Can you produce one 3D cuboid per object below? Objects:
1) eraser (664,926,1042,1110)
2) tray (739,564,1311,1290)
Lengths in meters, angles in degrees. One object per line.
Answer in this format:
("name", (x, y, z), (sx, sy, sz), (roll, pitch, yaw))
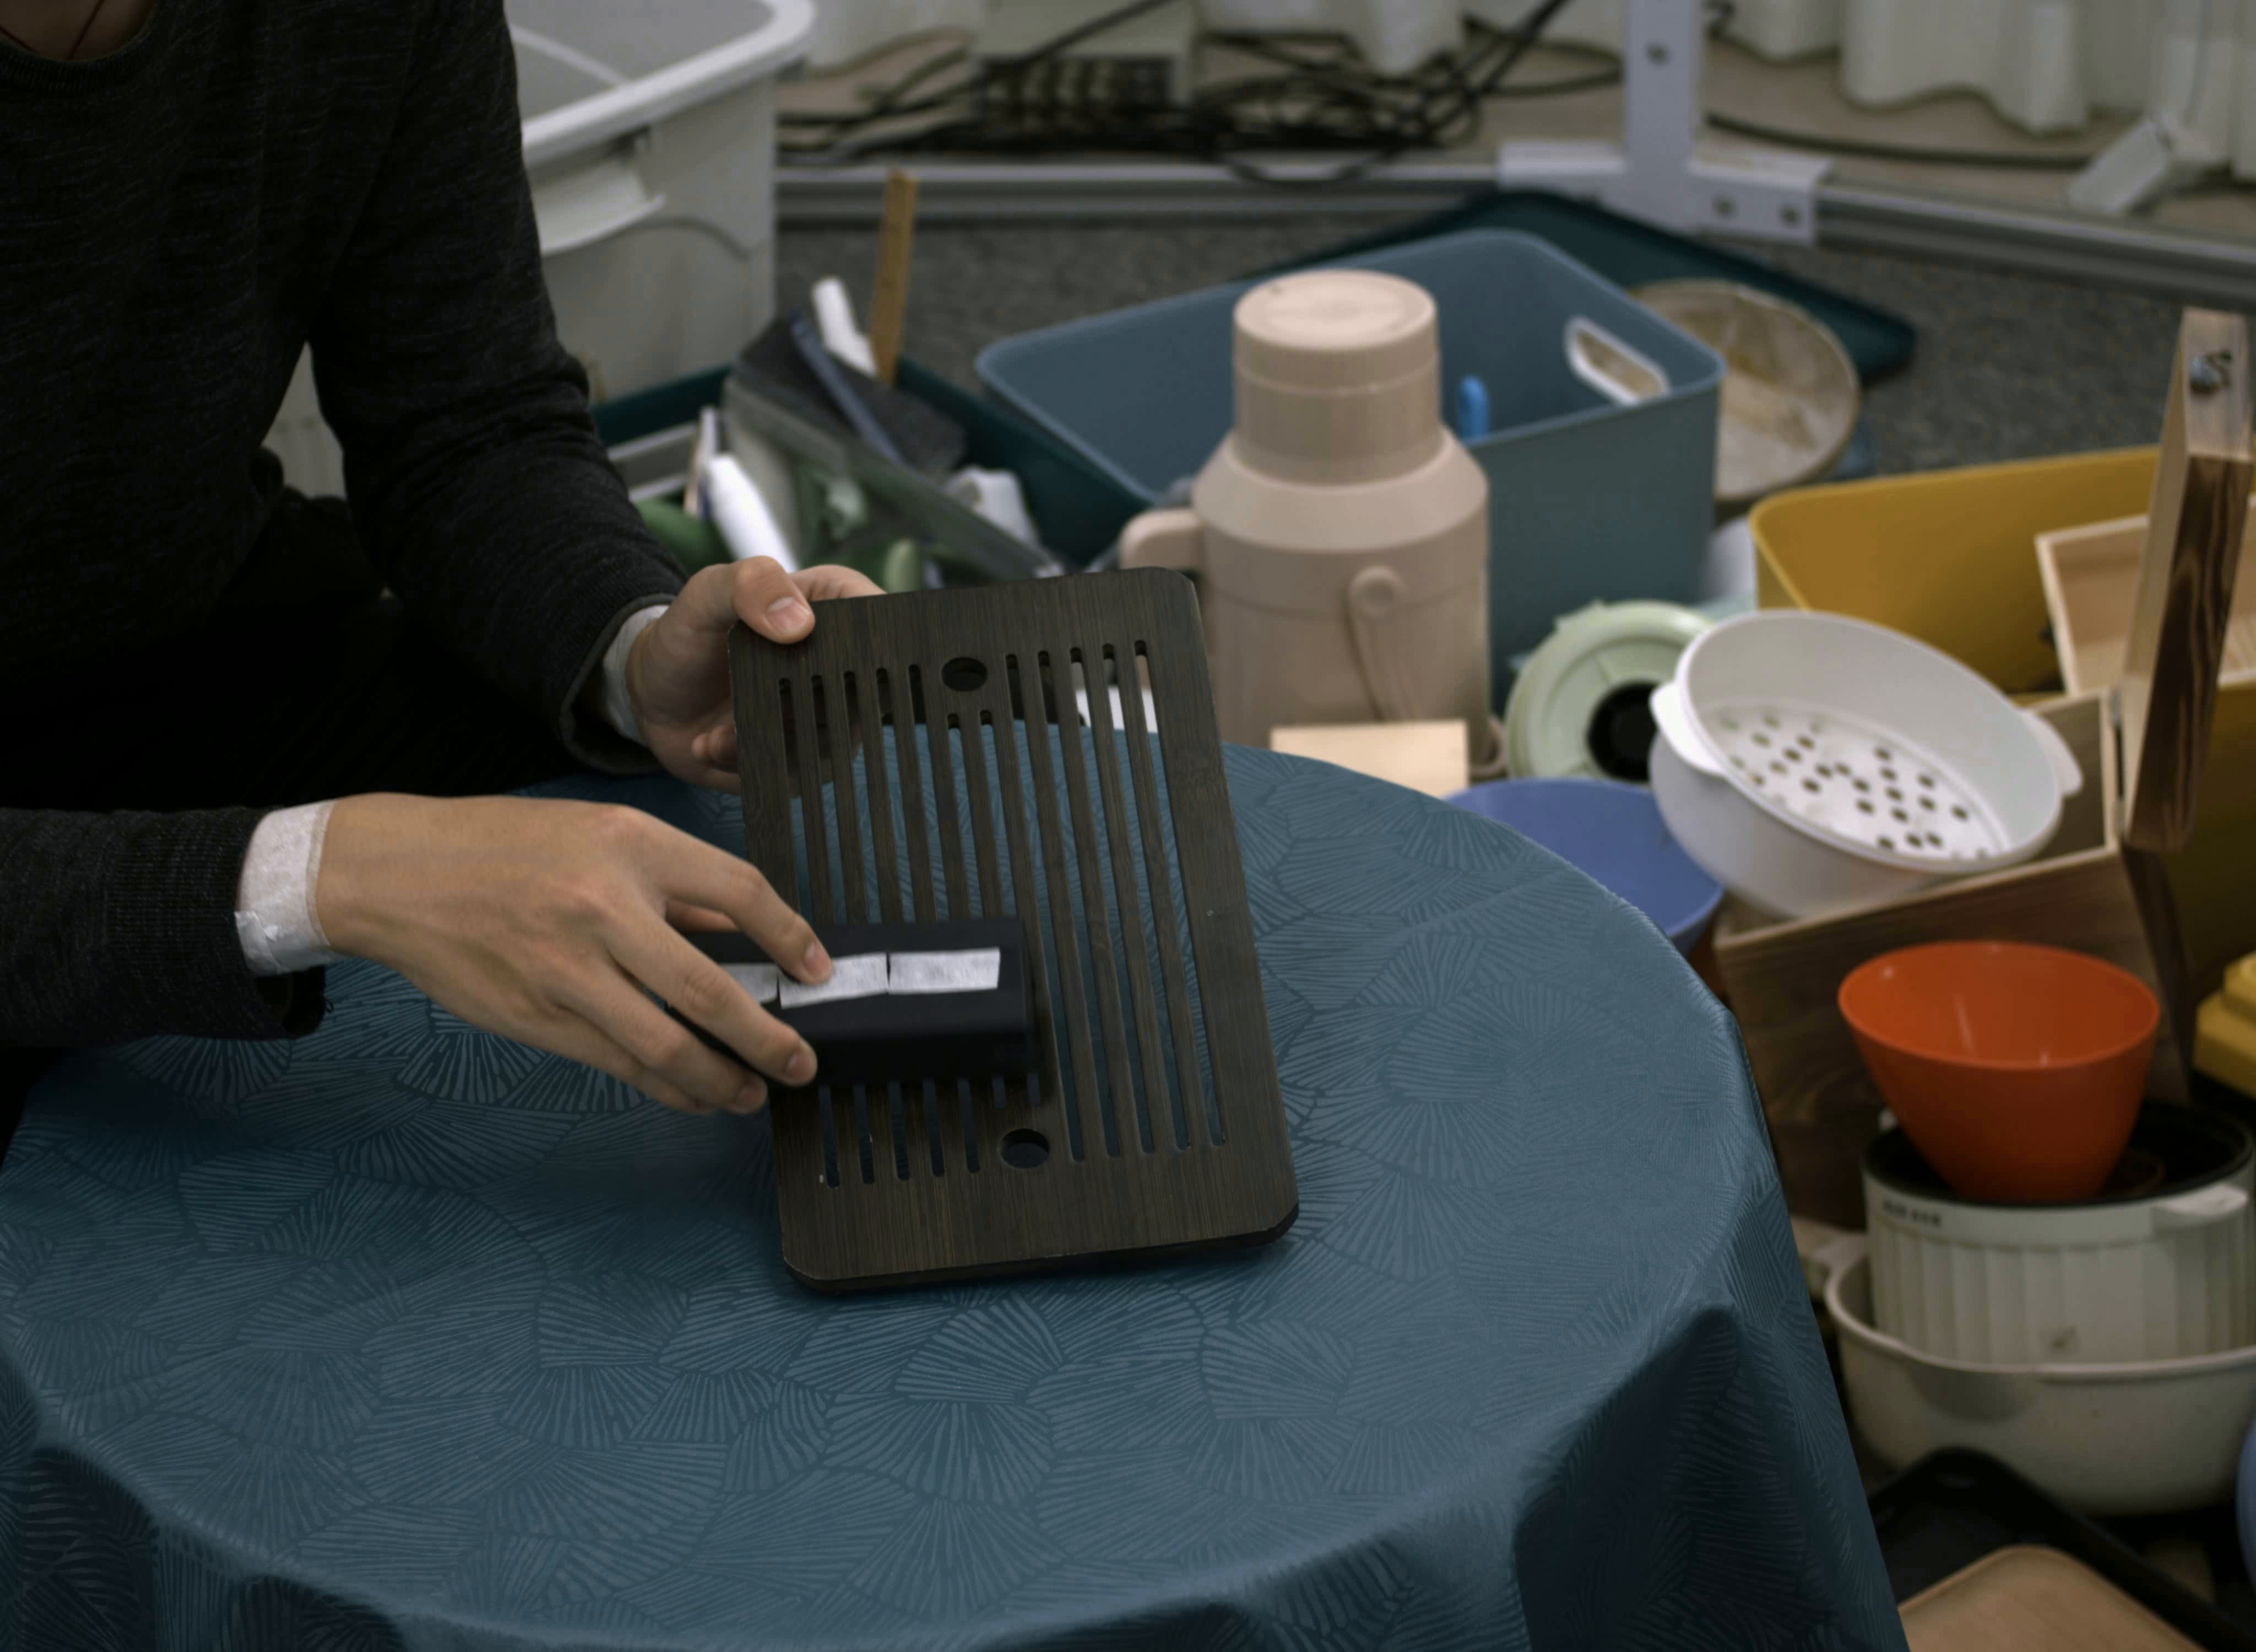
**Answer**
("eraser", (-0.090, 0.063, 1.862), (0.125, 0.030, 0.054), (-5, 45, 1))
("tray", (-0.040, 0.030, 1.918), (0.169, 0.018, 0.312), (-6, 47, -3))
